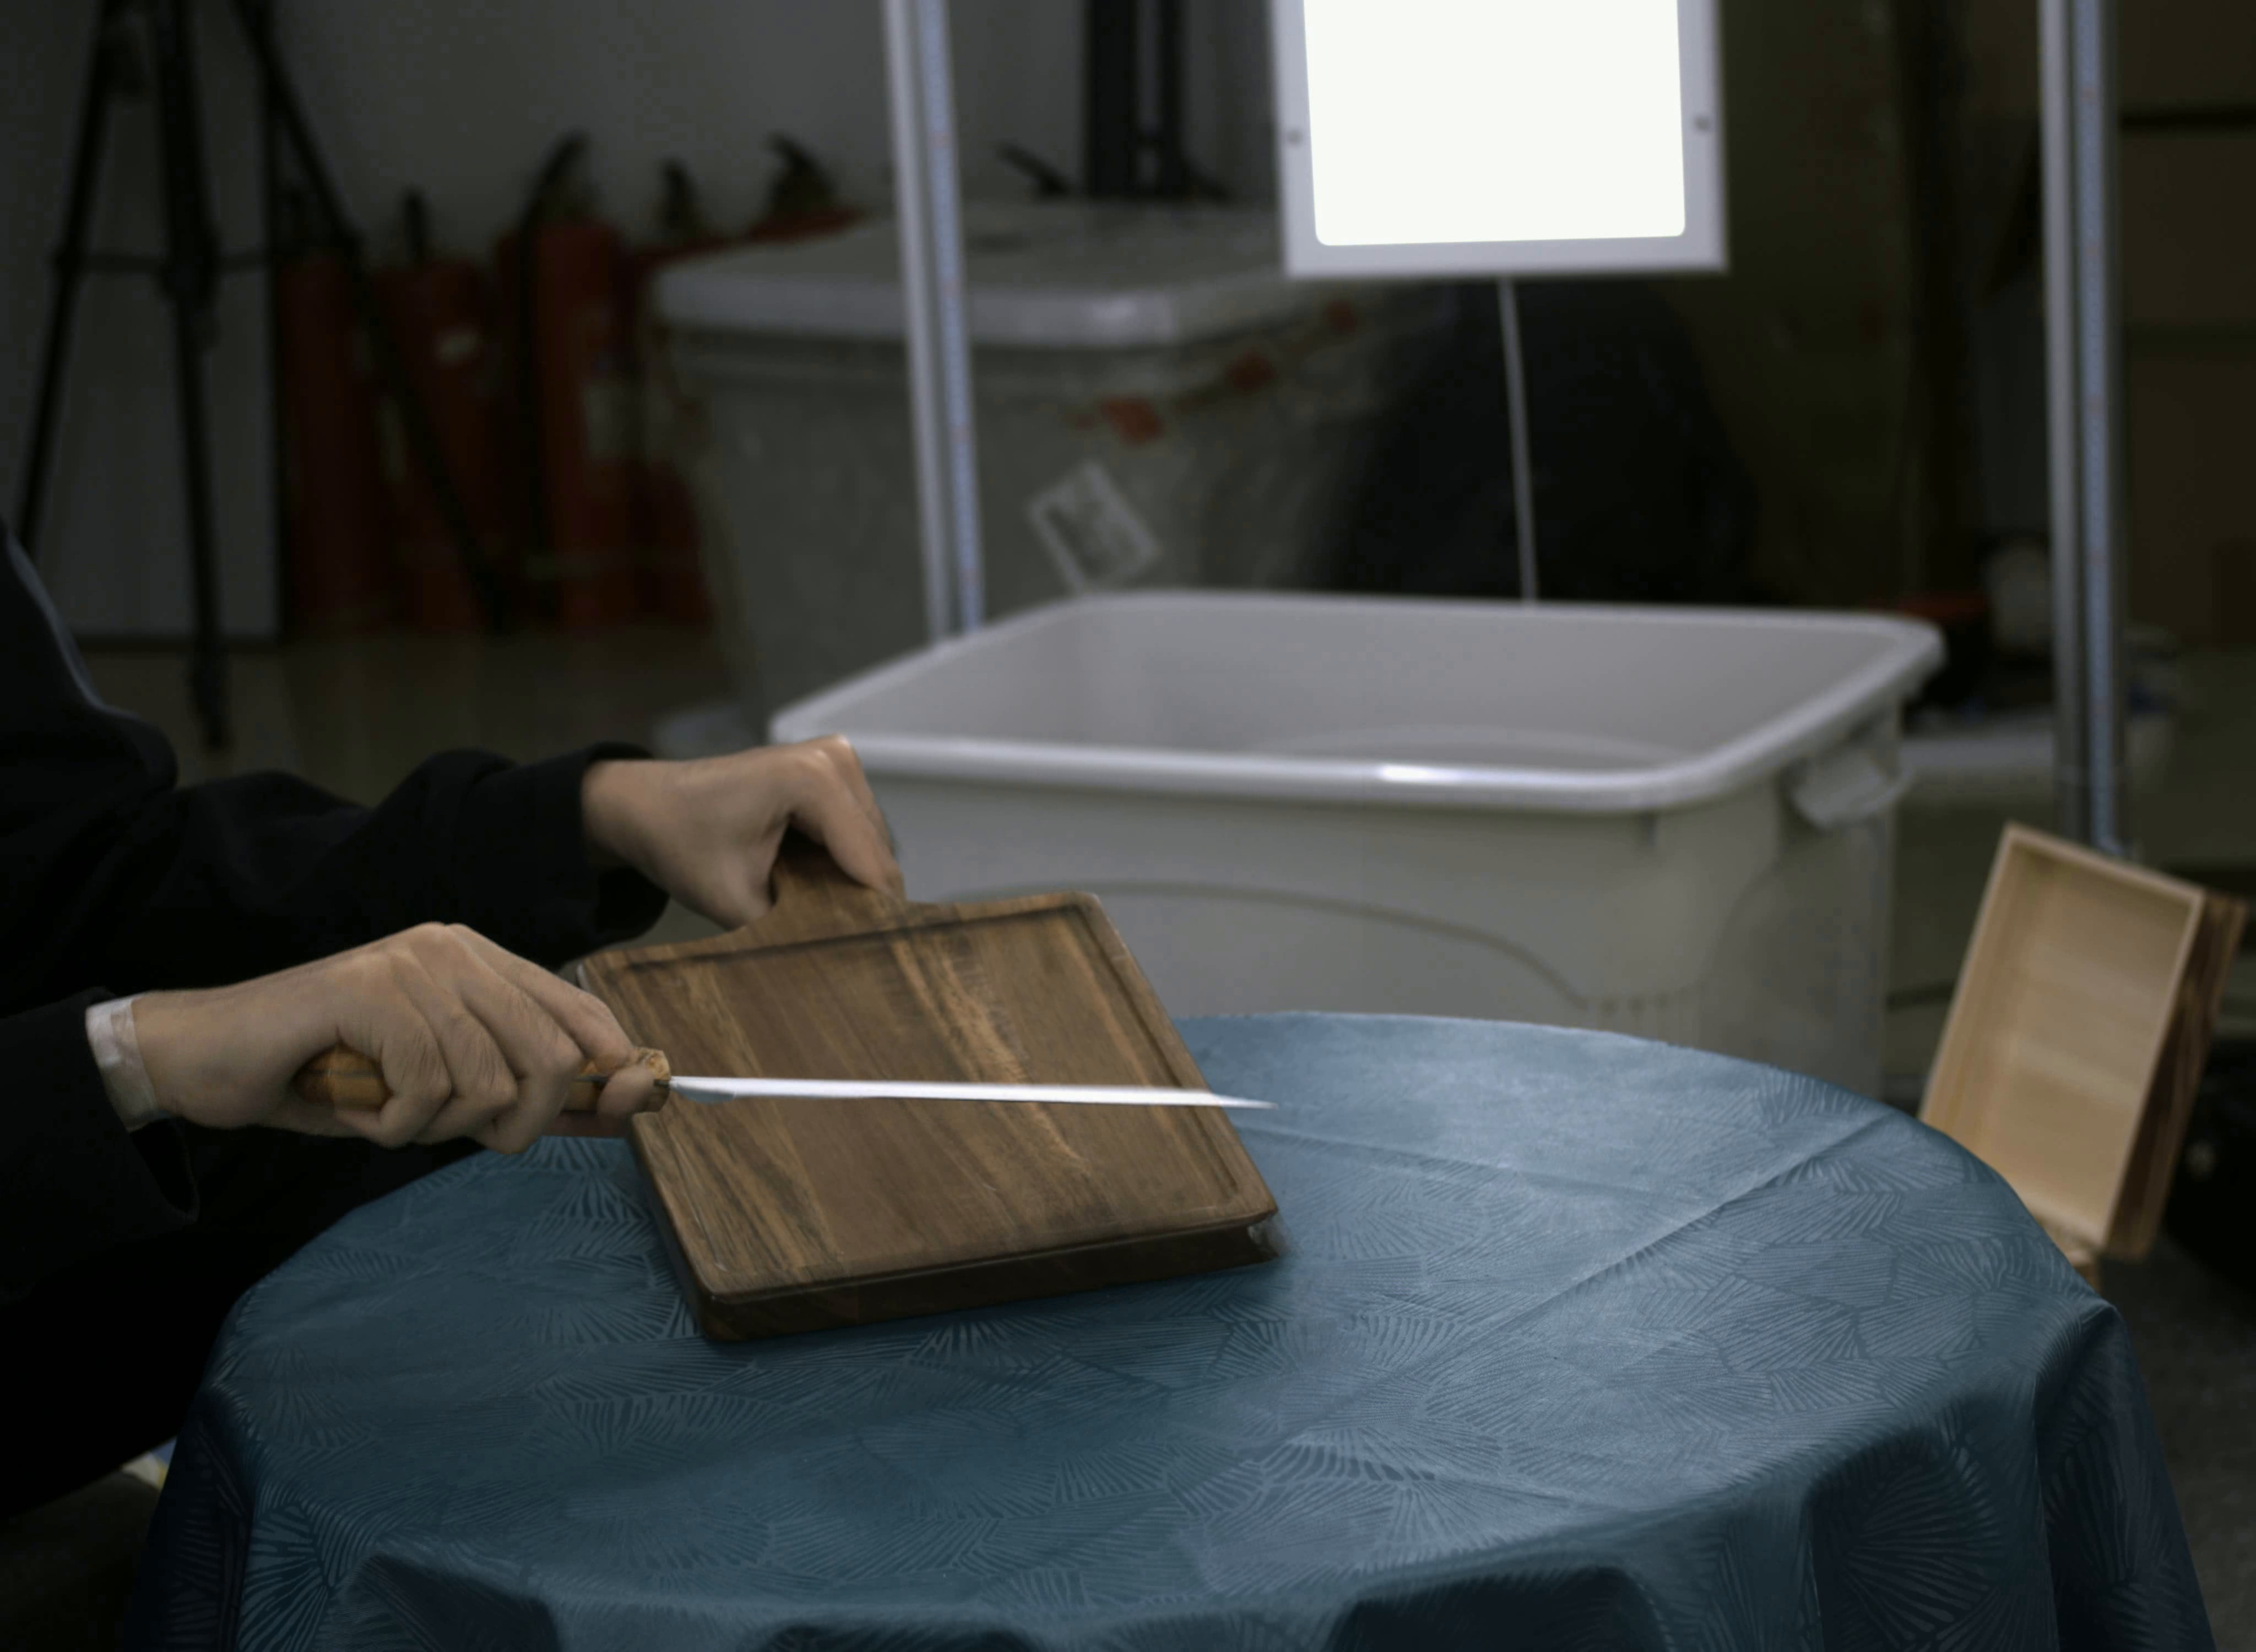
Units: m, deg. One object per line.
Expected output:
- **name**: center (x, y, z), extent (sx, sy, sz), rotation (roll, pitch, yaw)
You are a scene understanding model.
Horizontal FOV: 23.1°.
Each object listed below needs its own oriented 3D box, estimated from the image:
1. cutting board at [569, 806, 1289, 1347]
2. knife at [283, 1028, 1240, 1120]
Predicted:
- **cutting board**: center (-0.087, 0.074, 1.939), extent (0.198, 0.023, 0.355), rotation (-9, 27, -12)
- **knife**: center (-0.107, 0.081, 1.719), extent (0.299, 0.021, 0.094), rotation (5, -2, -26)
